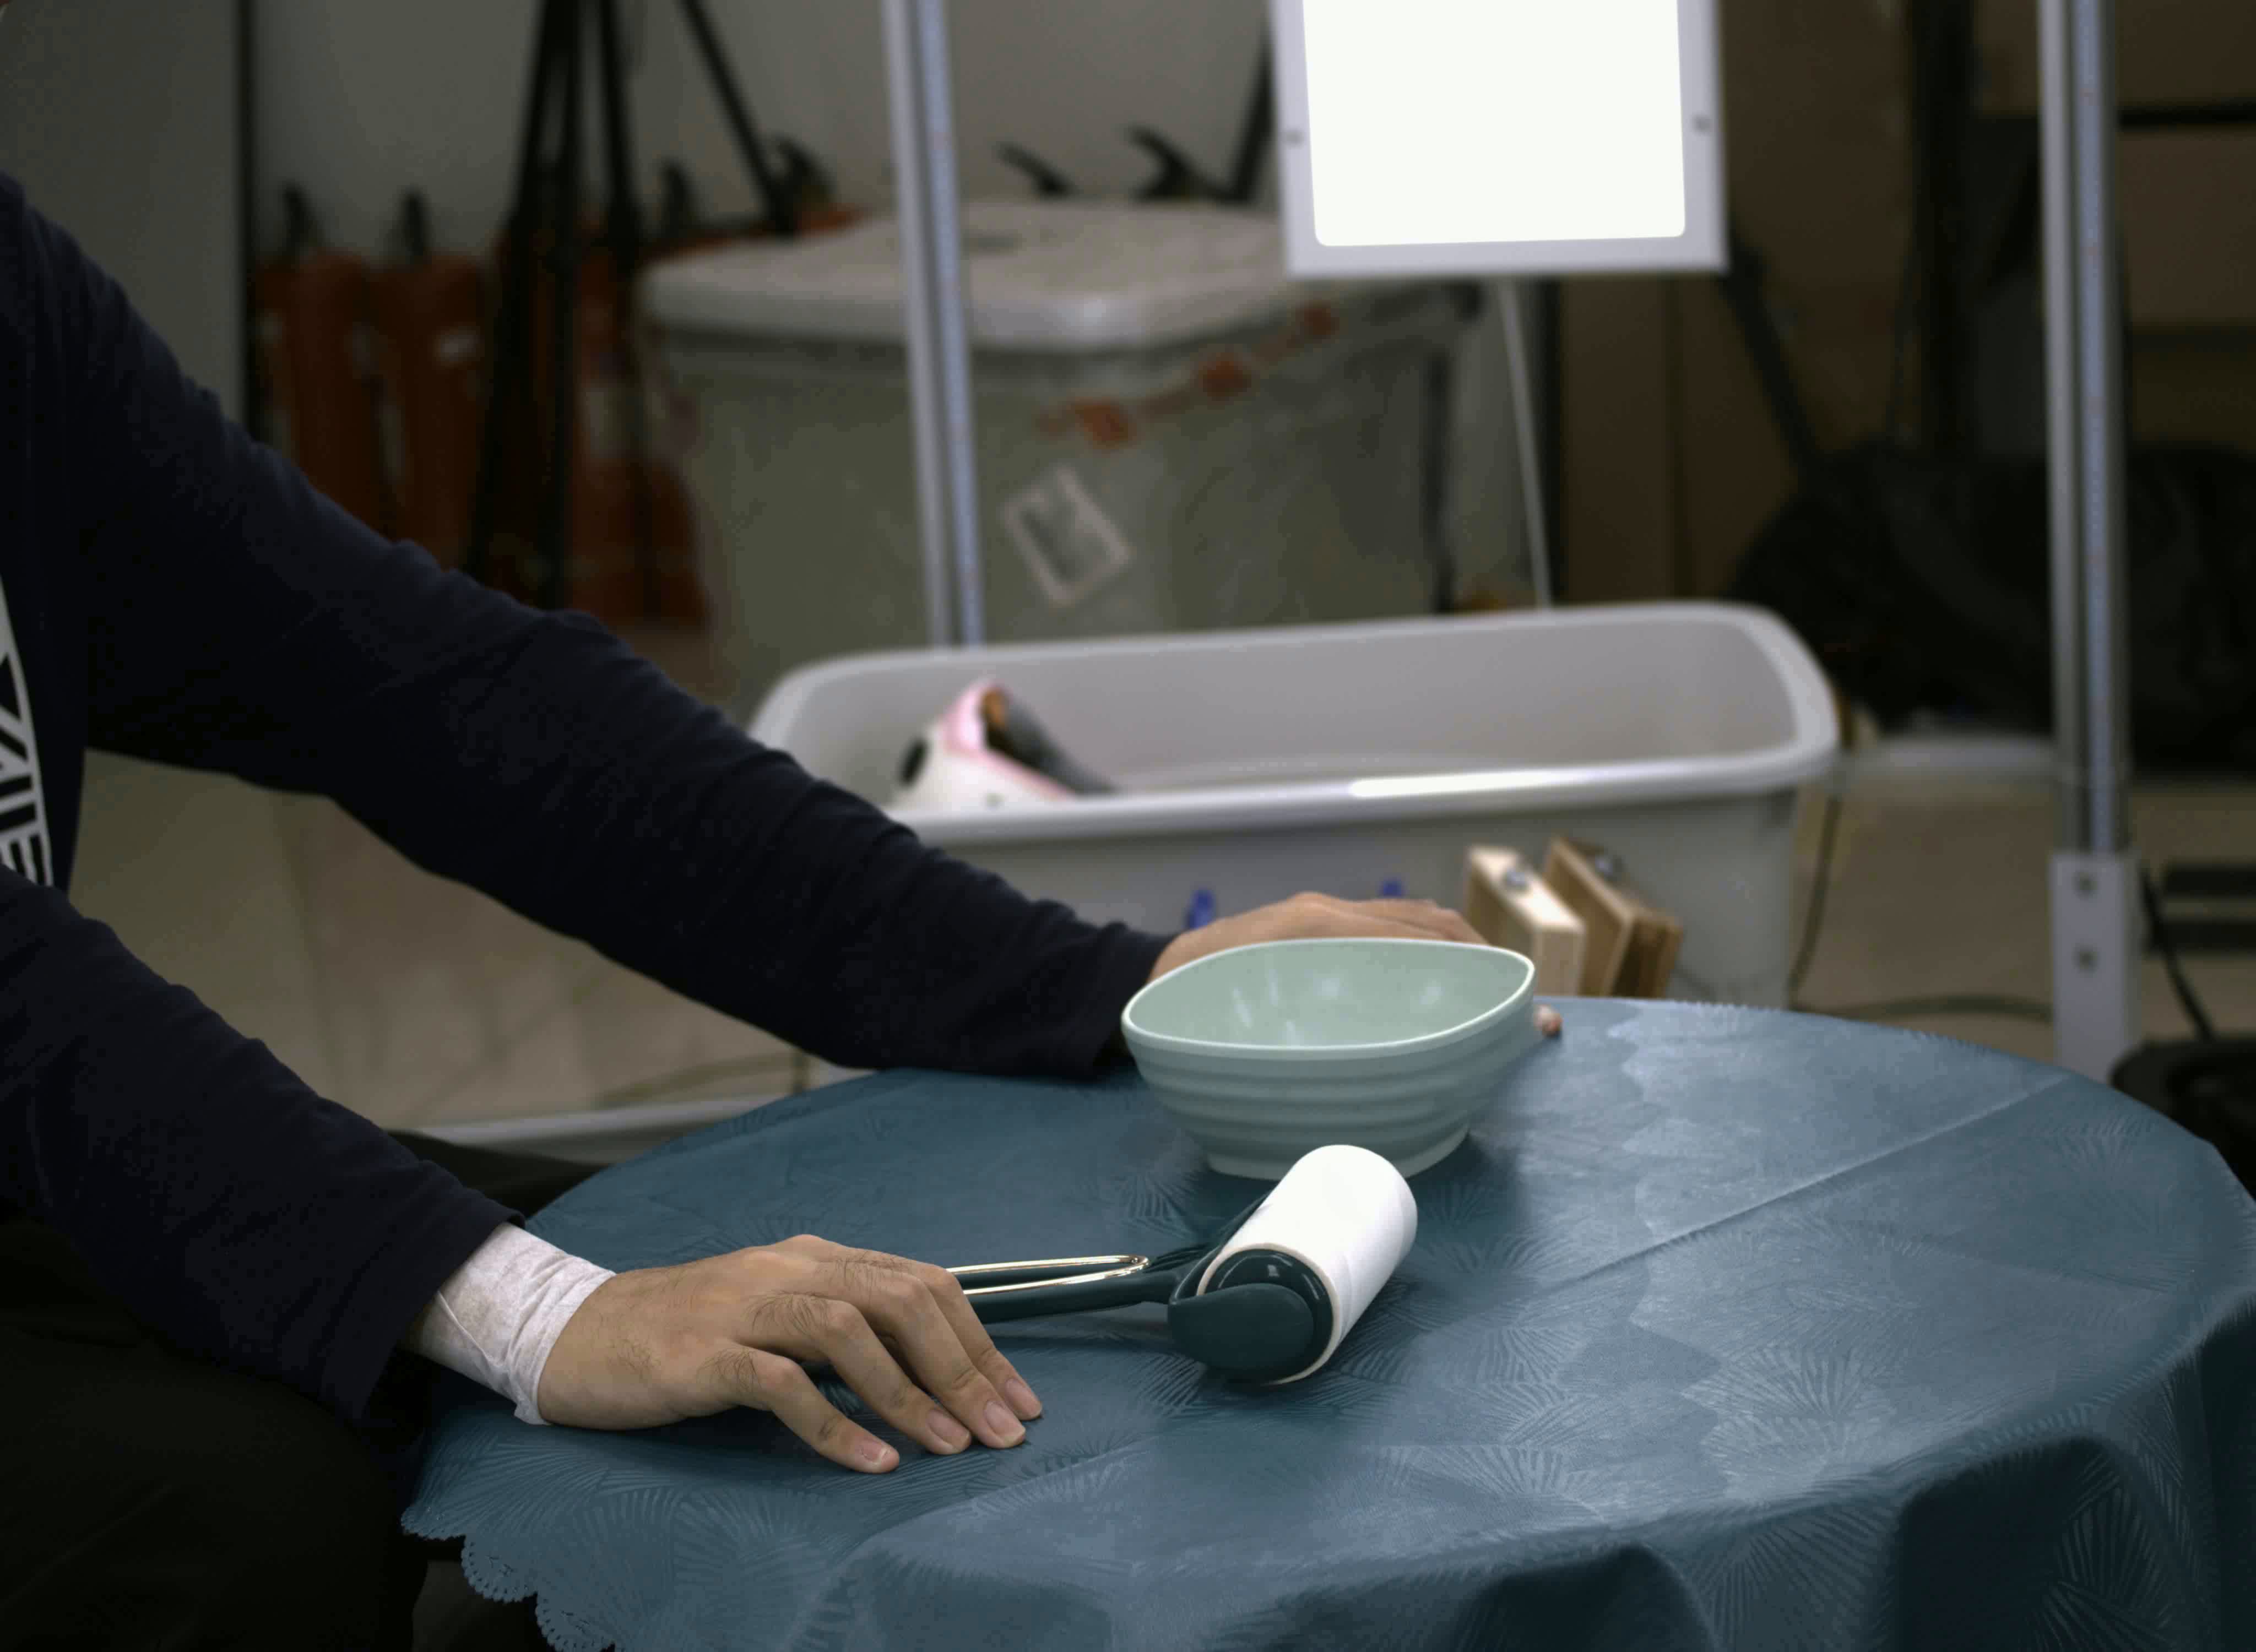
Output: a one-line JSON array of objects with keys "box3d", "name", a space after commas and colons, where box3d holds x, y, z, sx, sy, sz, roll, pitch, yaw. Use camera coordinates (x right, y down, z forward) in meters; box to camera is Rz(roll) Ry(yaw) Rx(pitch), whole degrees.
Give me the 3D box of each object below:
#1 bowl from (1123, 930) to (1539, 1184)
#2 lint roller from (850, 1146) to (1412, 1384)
[{"box3d": [0.073, 0.084, 1.928, 0.151, 0.059, 0.151, -4, 16, 0], "name": "bowl"}, {"box3d": [-0.006, 0.142, 1.760, 0.182, 0.048, 0.132, -4, 13, 19], "name": "lint roller"}]
